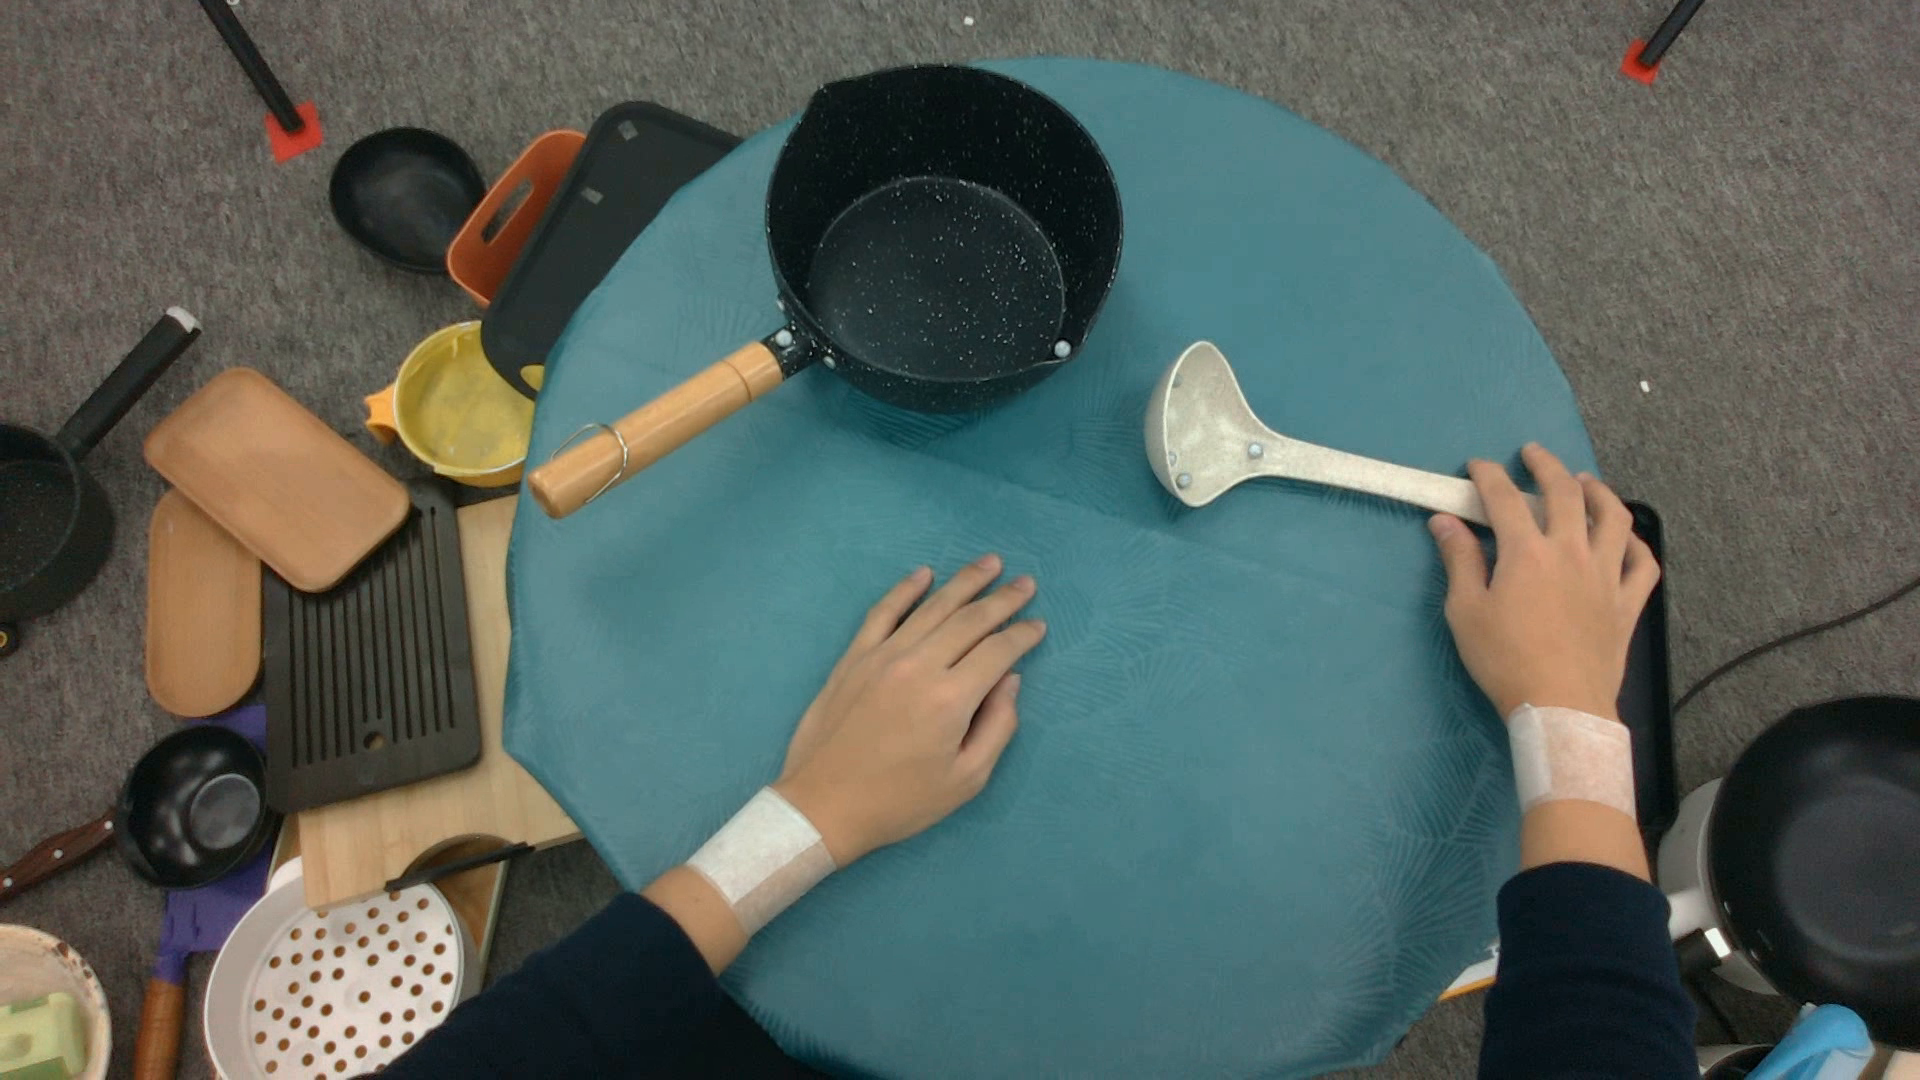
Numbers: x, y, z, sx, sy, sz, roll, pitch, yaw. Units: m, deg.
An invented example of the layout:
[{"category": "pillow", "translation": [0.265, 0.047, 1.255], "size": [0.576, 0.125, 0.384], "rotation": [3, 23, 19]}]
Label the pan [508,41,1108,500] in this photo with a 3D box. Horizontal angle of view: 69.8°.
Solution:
[{"category": "pan", "translation": [-0.076, -0.116, 0.709], "size": [0.344, 0.108, 0.207], "rotation": [-41, 81, -17]}]

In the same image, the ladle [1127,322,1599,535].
[{"category": "ladle", "translation": [0.223, -0.048, 0.734], "size": [0.275, 0.069, 0.089], "rotation": [13, 72, 0]}]
